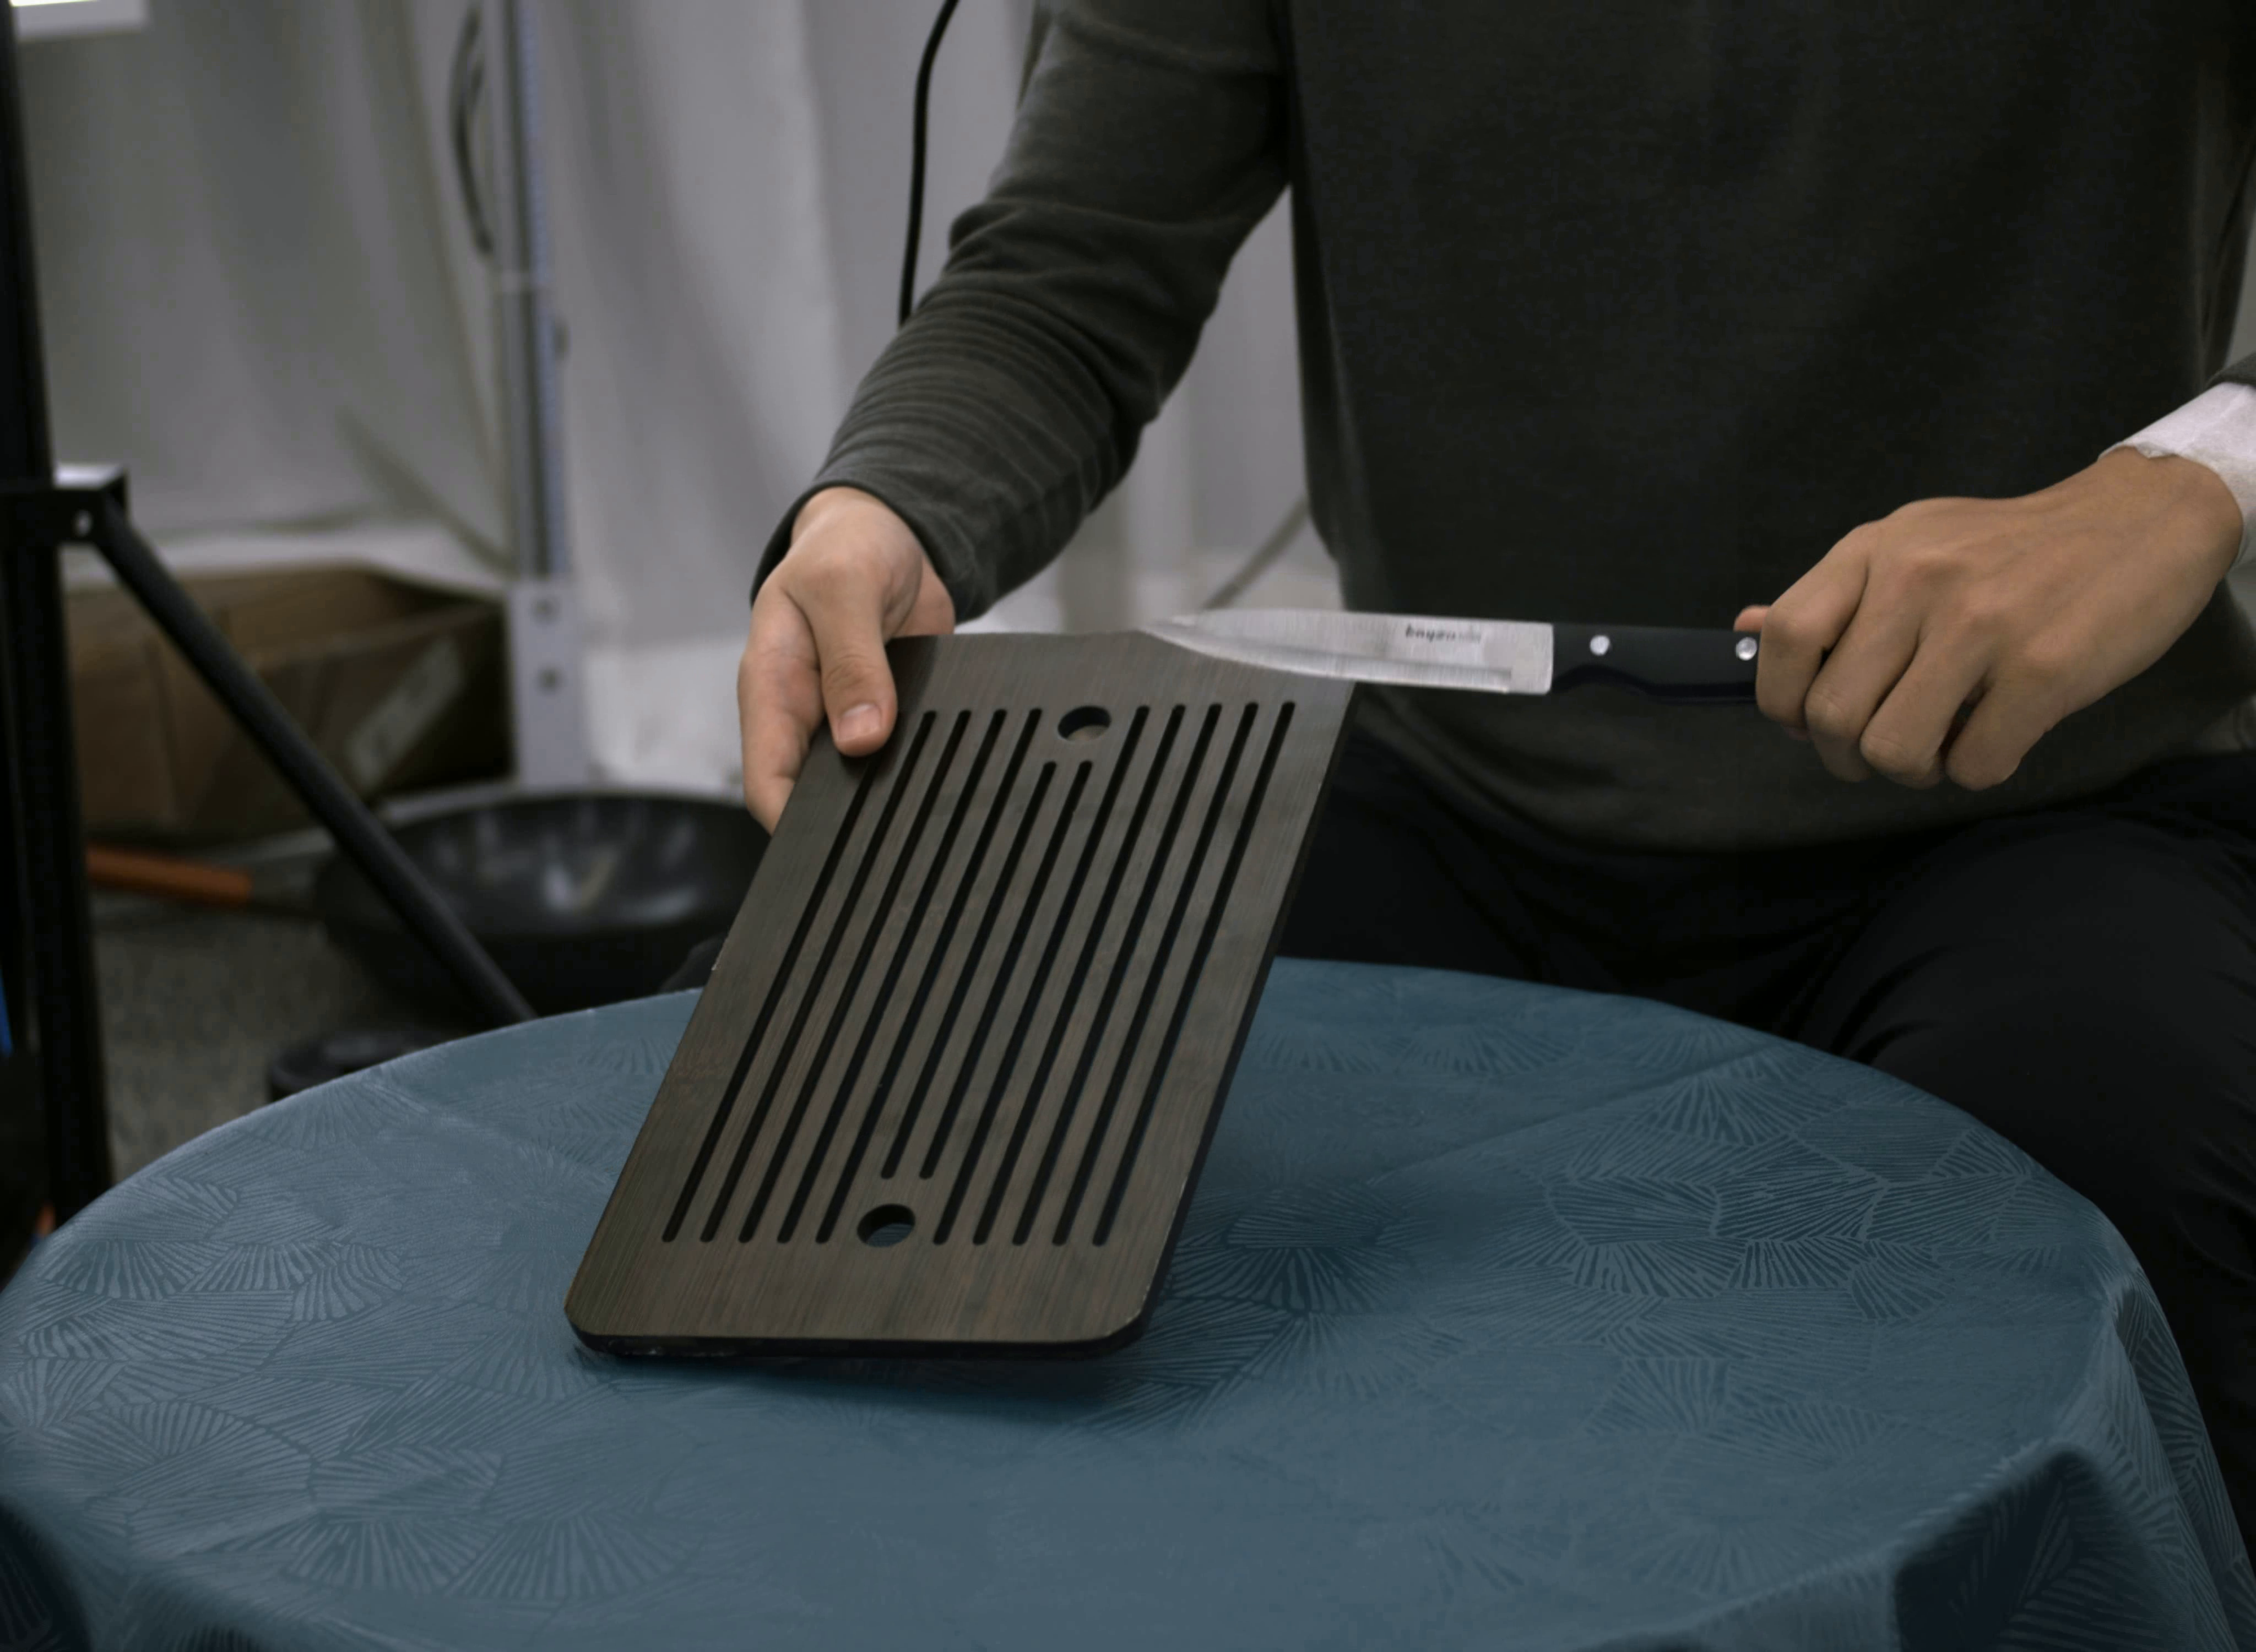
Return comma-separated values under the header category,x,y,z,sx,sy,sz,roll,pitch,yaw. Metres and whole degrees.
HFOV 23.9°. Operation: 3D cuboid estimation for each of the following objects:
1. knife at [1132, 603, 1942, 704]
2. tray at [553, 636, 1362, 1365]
category,x,y,z,sx,sy,sz,roll,pitch,yaw
knife,0.117,-0.052,1.538,0.240,0.024,0.016,4,-18,15
tray,-0.042,0.045,1.534,0.172,0.018,0.306,-1,40,20
